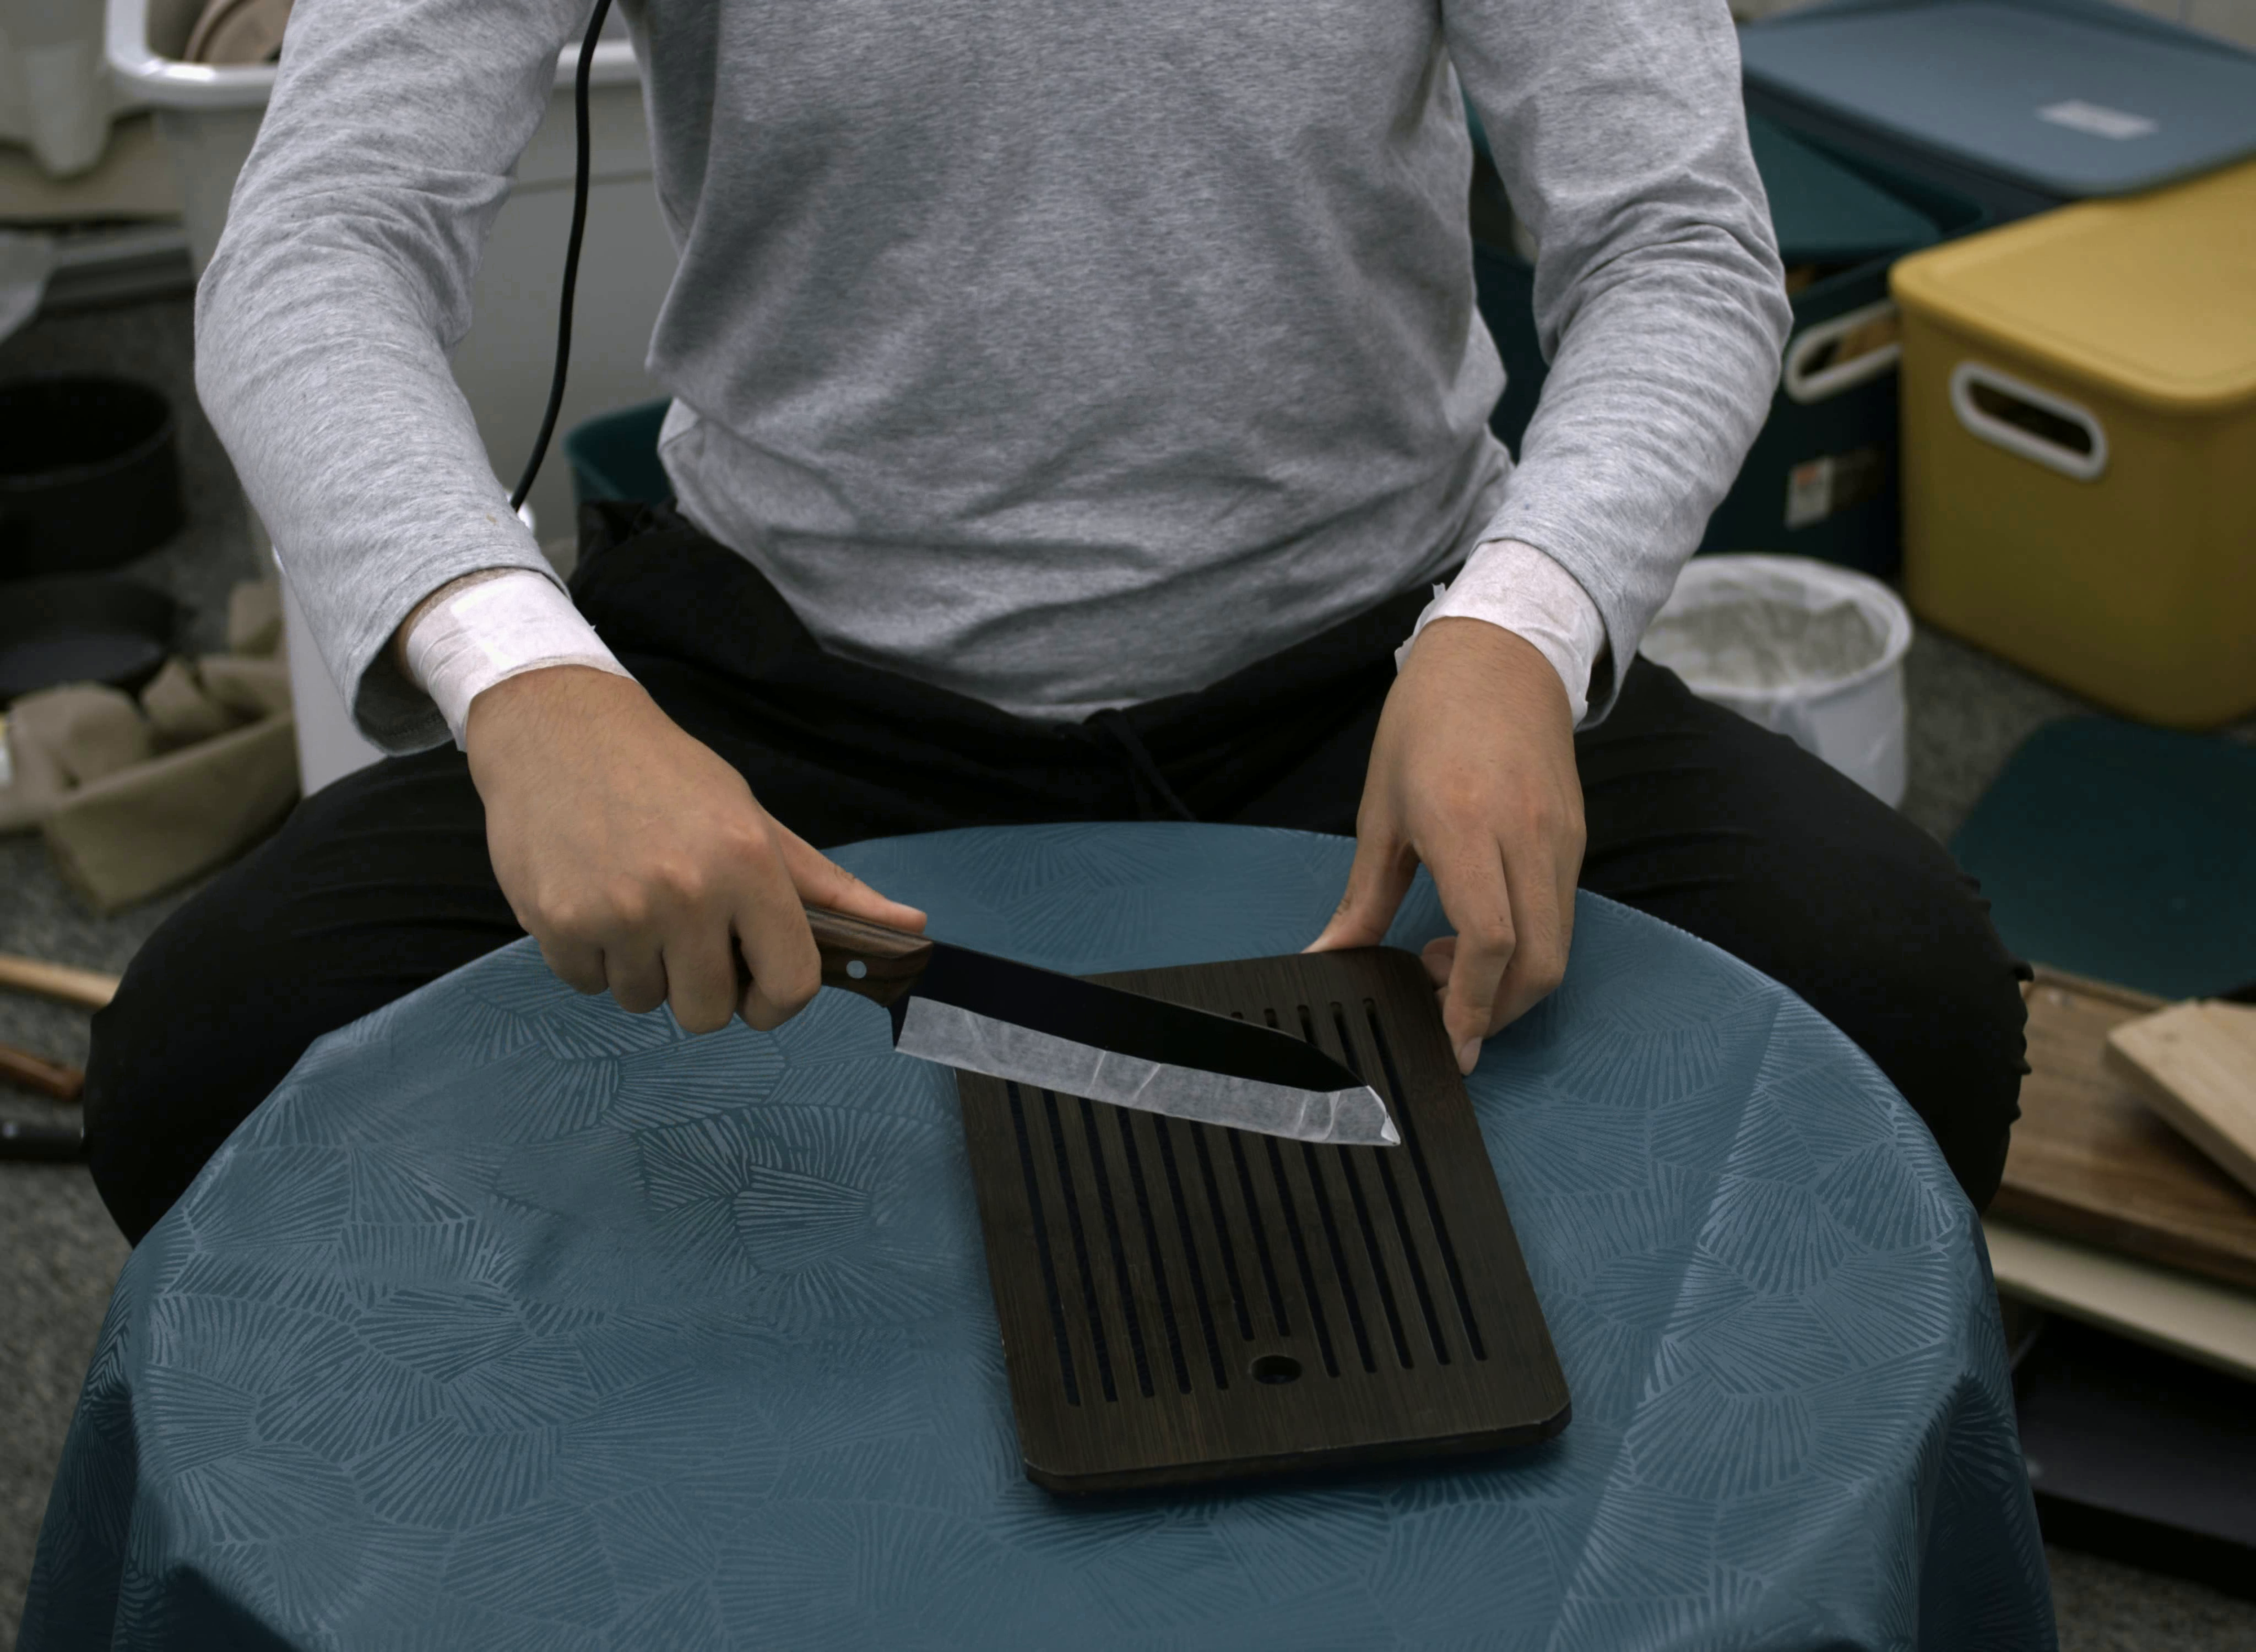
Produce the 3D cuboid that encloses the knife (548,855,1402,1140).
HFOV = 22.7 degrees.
[{"bbox_3d":[-0.049,0.057,1.812,0.288,0.049,0.020,16,29,-2],"label":"knife"}]

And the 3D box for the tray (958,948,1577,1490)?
[{"bbox_3d":[0.038,0.125,1.832,0.169,0.018,0.310,-5,27,-4],"label":"tray"}]
